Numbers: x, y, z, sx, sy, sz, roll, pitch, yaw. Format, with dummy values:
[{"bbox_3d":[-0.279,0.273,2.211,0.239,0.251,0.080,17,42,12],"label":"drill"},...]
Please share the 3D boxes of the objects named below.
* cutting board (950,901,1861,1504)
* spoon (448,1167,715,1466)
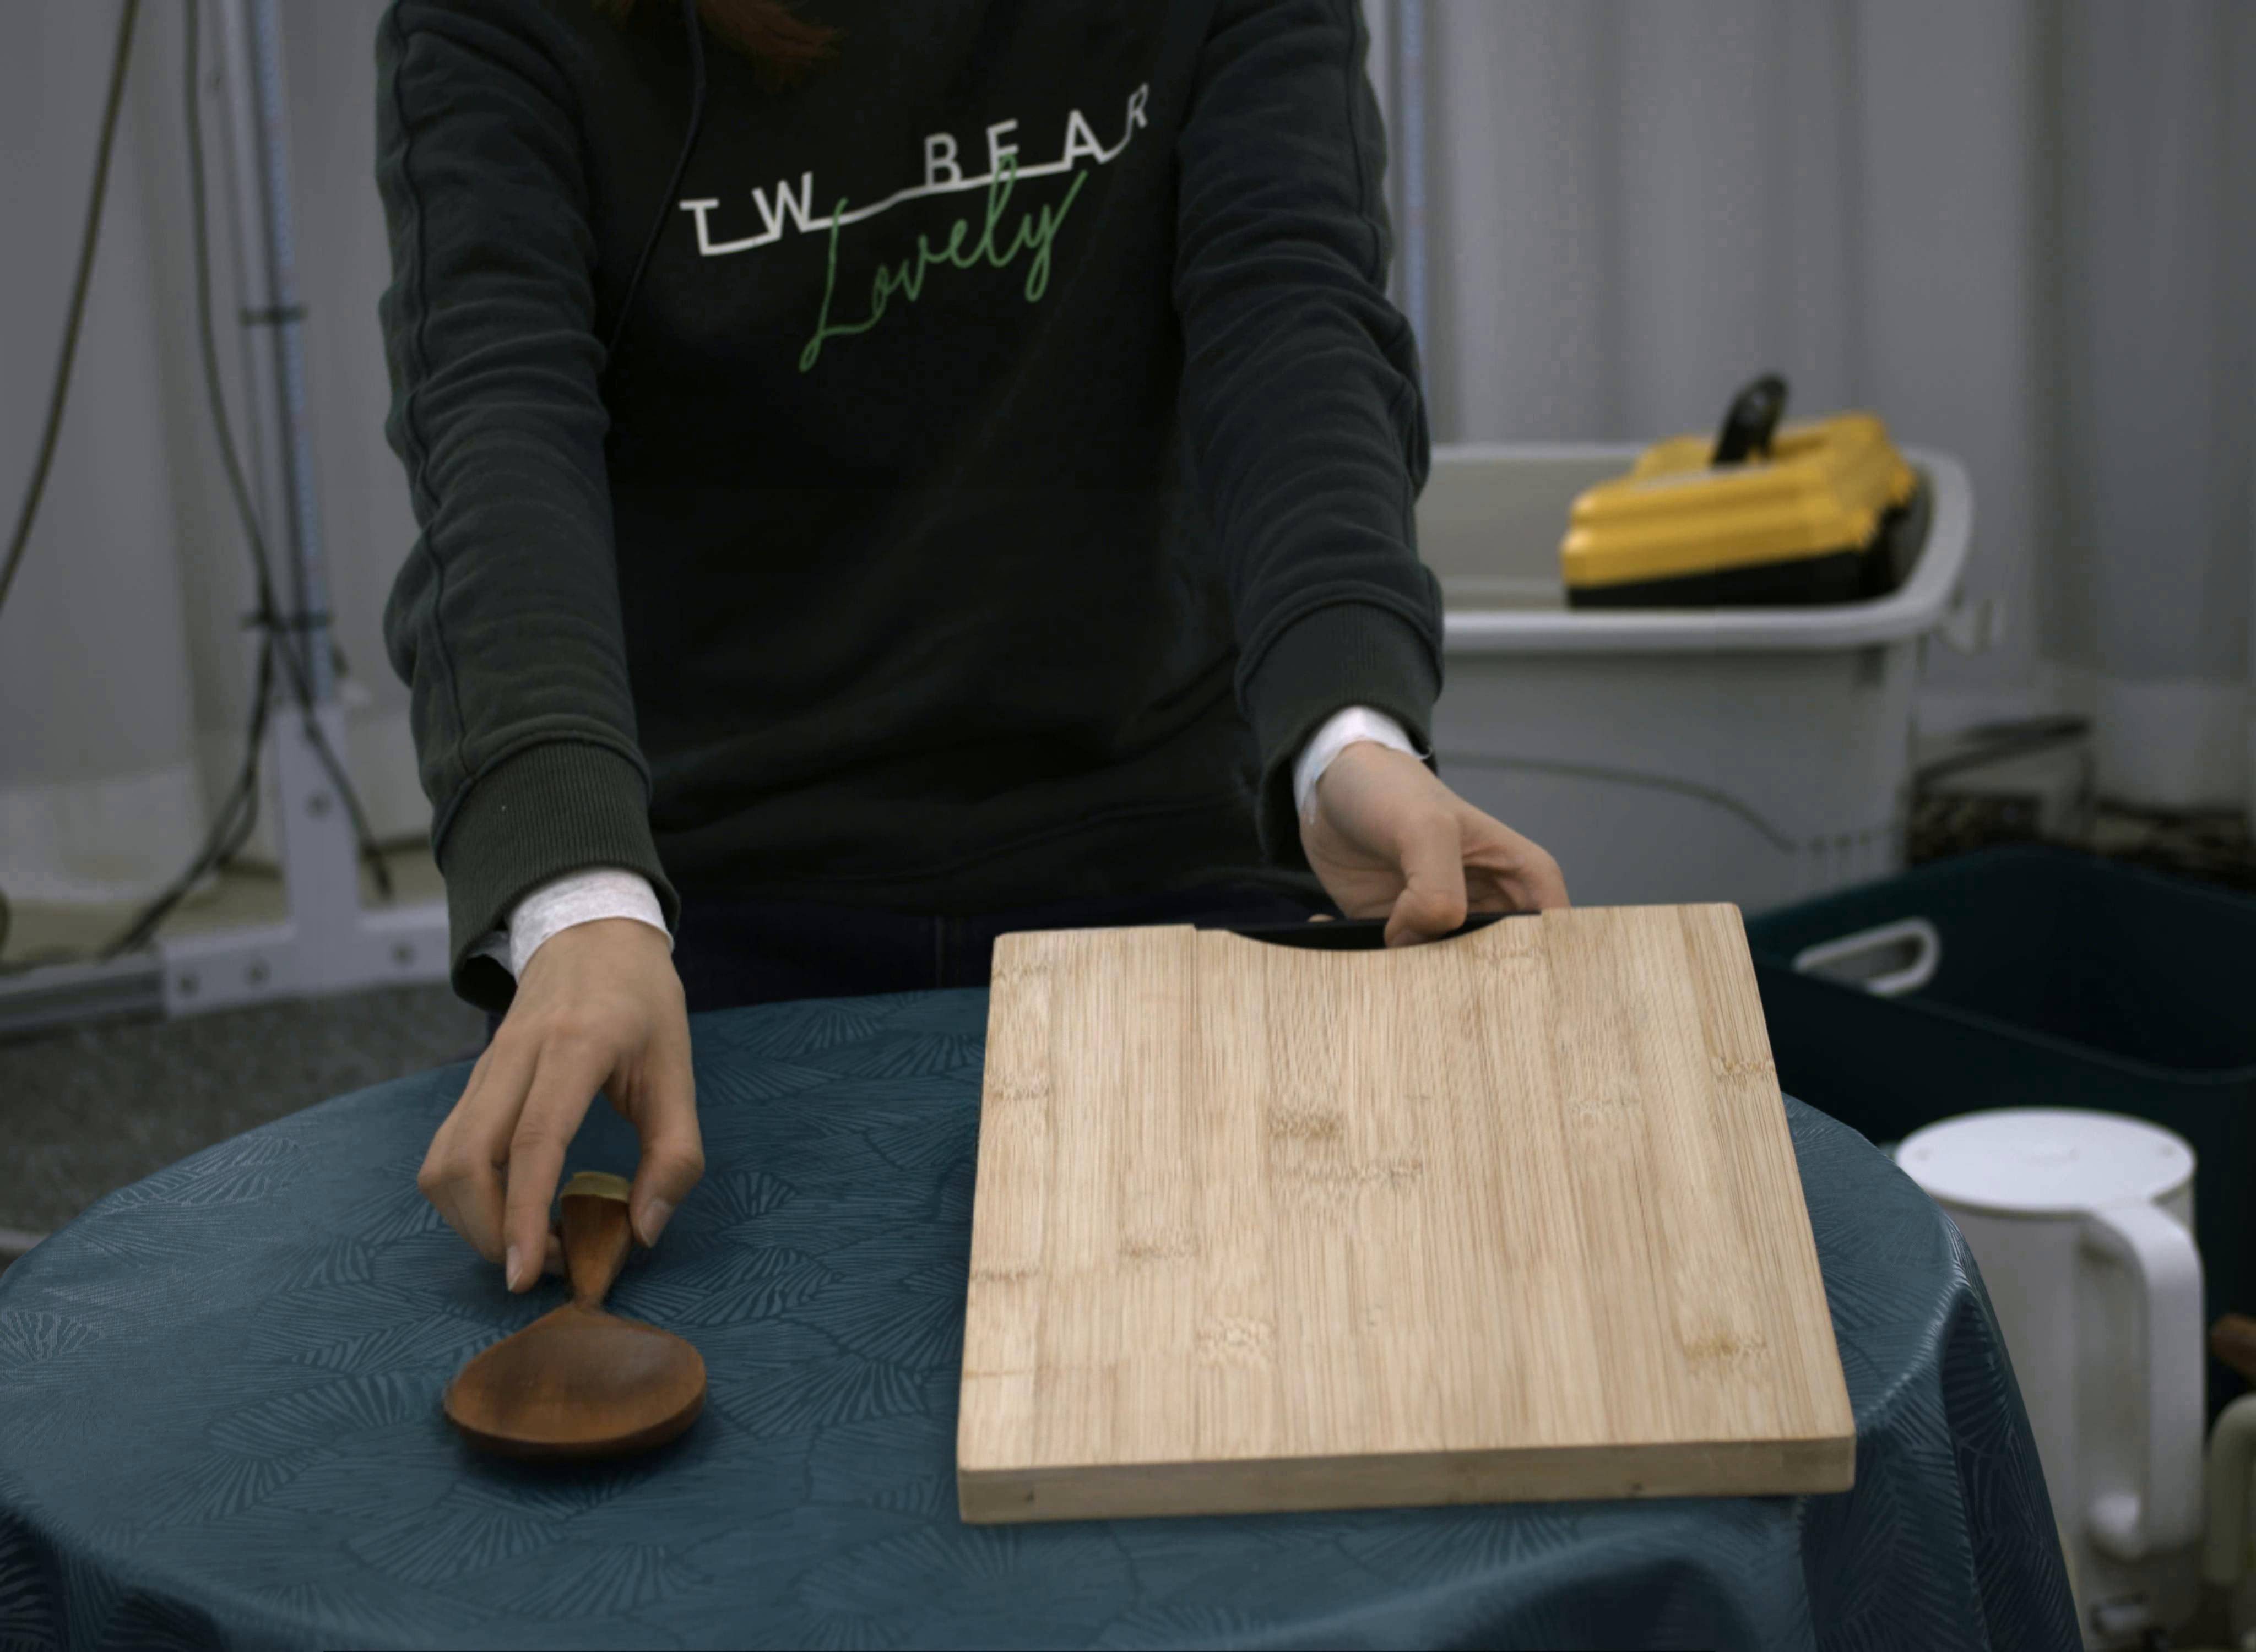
[{"bbox_3d":[0.076,0.105,1.608,0.250,0.023,0.352,-2,23,0],"label":"cutting board"},{"bbox_3d":[-0.156,0.144,1.593,0.075,0.017,0.217,-5,17,-2],"label":"spoon"}]
